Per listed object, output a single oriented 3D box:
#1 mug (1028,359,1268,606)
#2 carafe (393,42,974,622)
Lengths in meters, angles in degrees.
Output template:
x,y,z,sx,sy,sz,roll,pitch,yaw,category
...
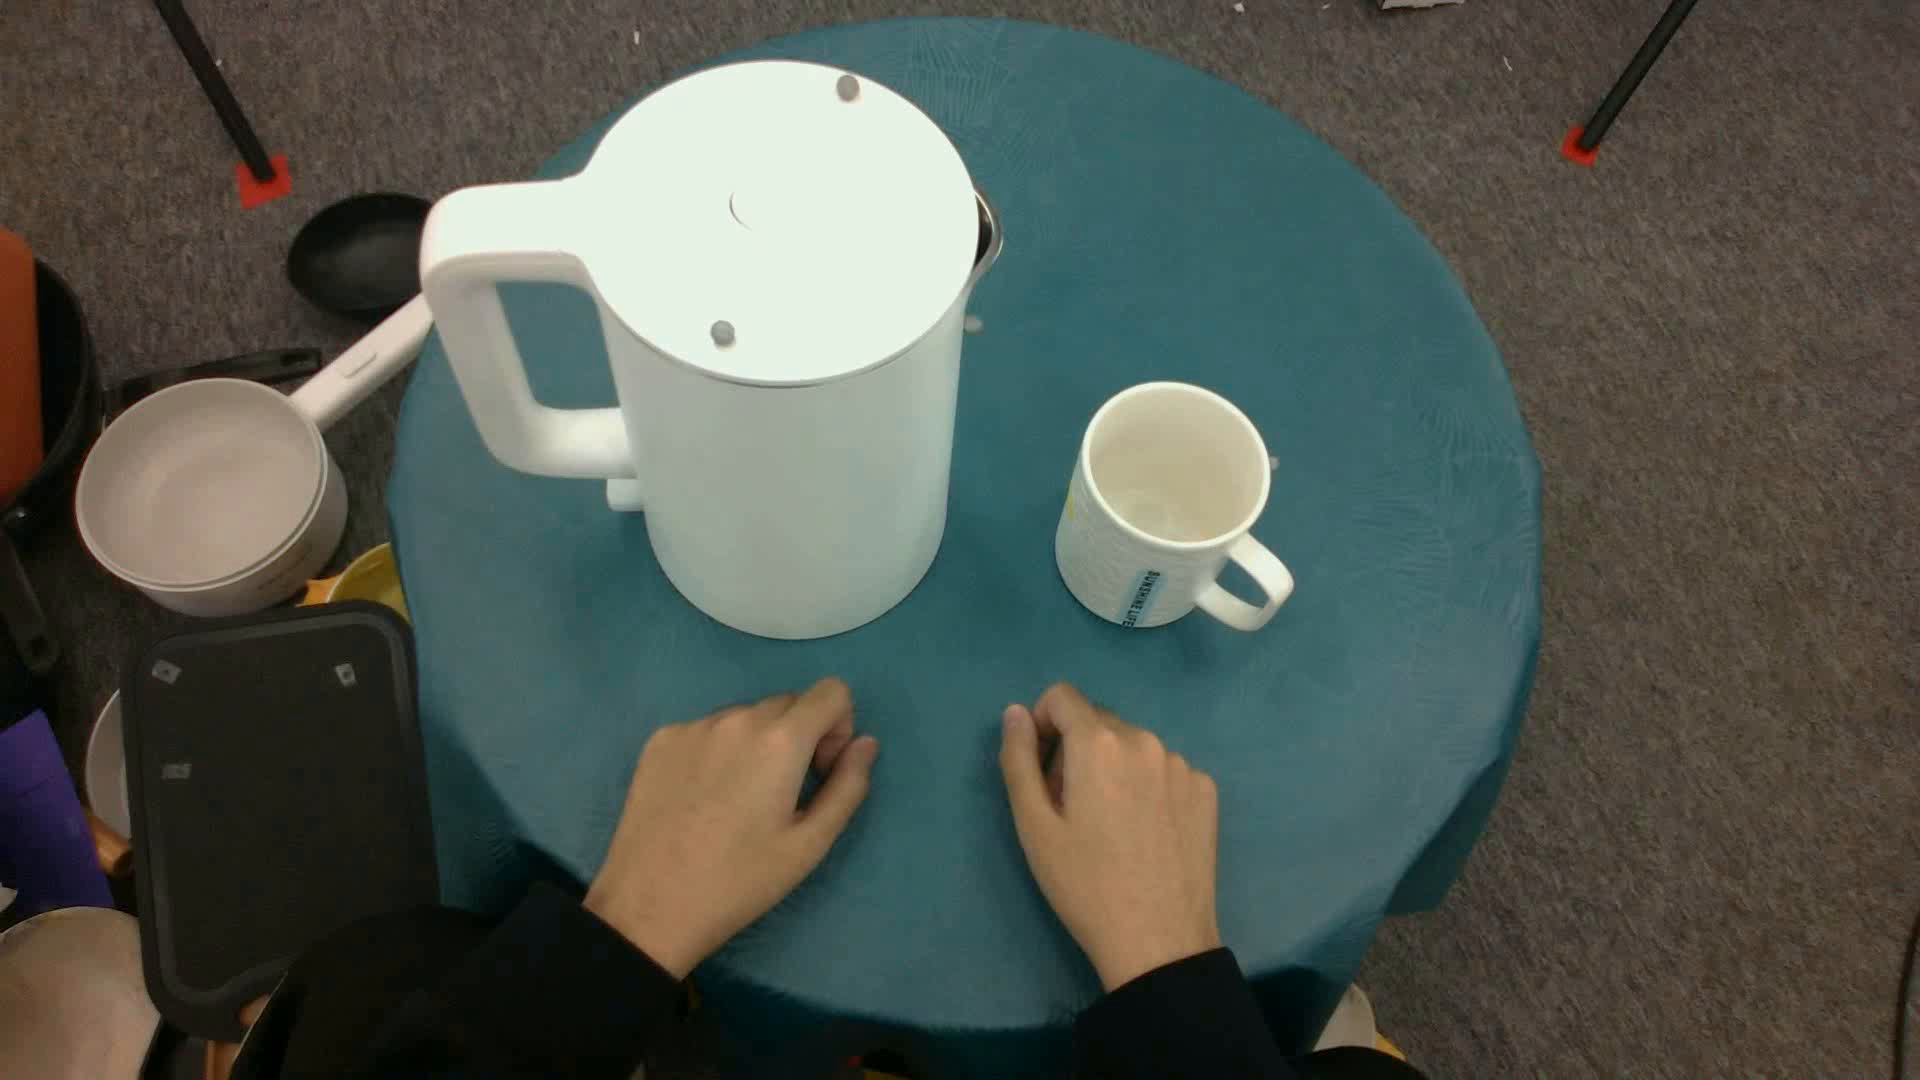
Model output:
x,y,z,sx,sy,sz,roll,pitch,yaw,category
0.092,-0.014,0.658,0.118,0.101,0.085,42,68,13,mug
-0.112,-0.078,0.595,0.213,0.239,0.152,-2,64,-8,carafe
